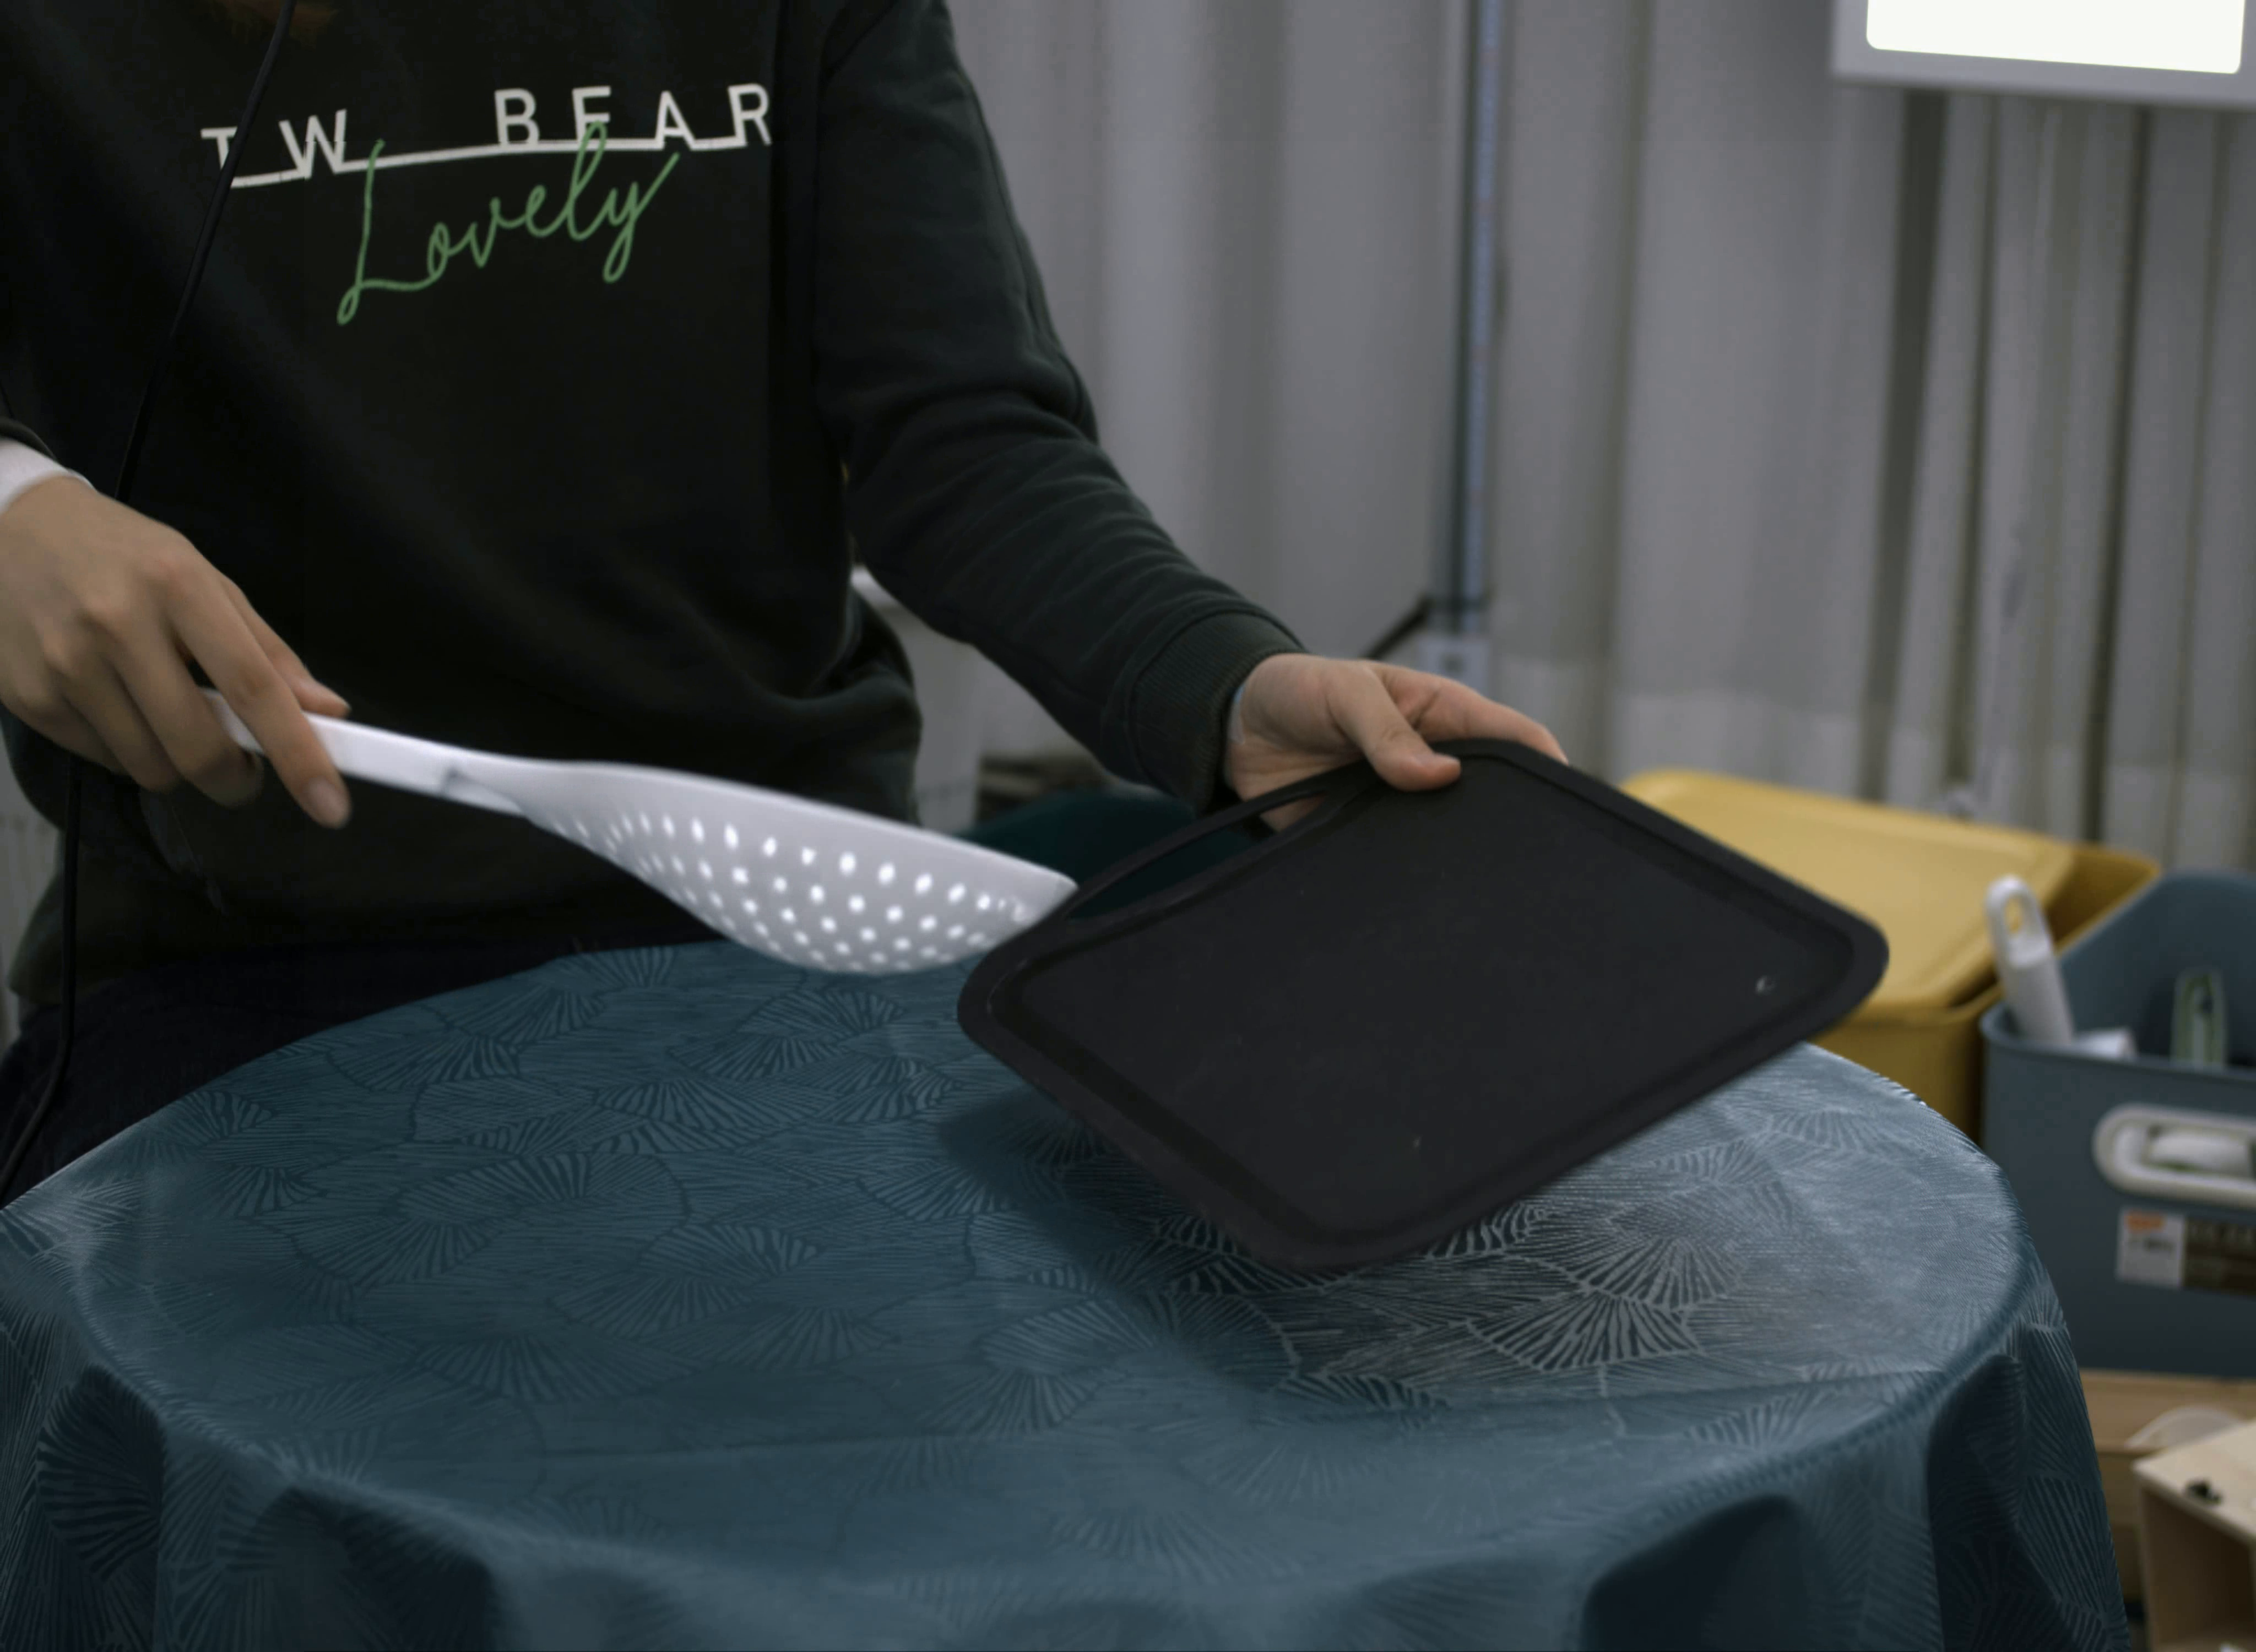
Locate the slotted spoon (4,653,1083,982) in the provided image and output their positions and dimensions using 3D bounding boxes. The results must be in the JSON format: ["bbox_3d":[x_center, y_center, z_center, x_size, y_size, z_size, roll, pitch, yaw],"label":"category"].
[{"bbox_3d":[-0.175,-0.011,1.489,0.346,0.046,0.137,17,-1,25],"label":"slotted spoon"}]

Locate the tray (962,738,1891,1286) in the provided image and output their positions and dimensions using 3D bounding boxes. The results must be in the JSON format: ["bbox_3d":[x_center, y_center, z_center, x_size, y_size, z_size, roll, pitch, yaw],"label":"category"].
[{"bbox_3d":[0.078,0.047,1.598,0.211,0.010,0.321,-27,25,-15],"label":"tray"}]
